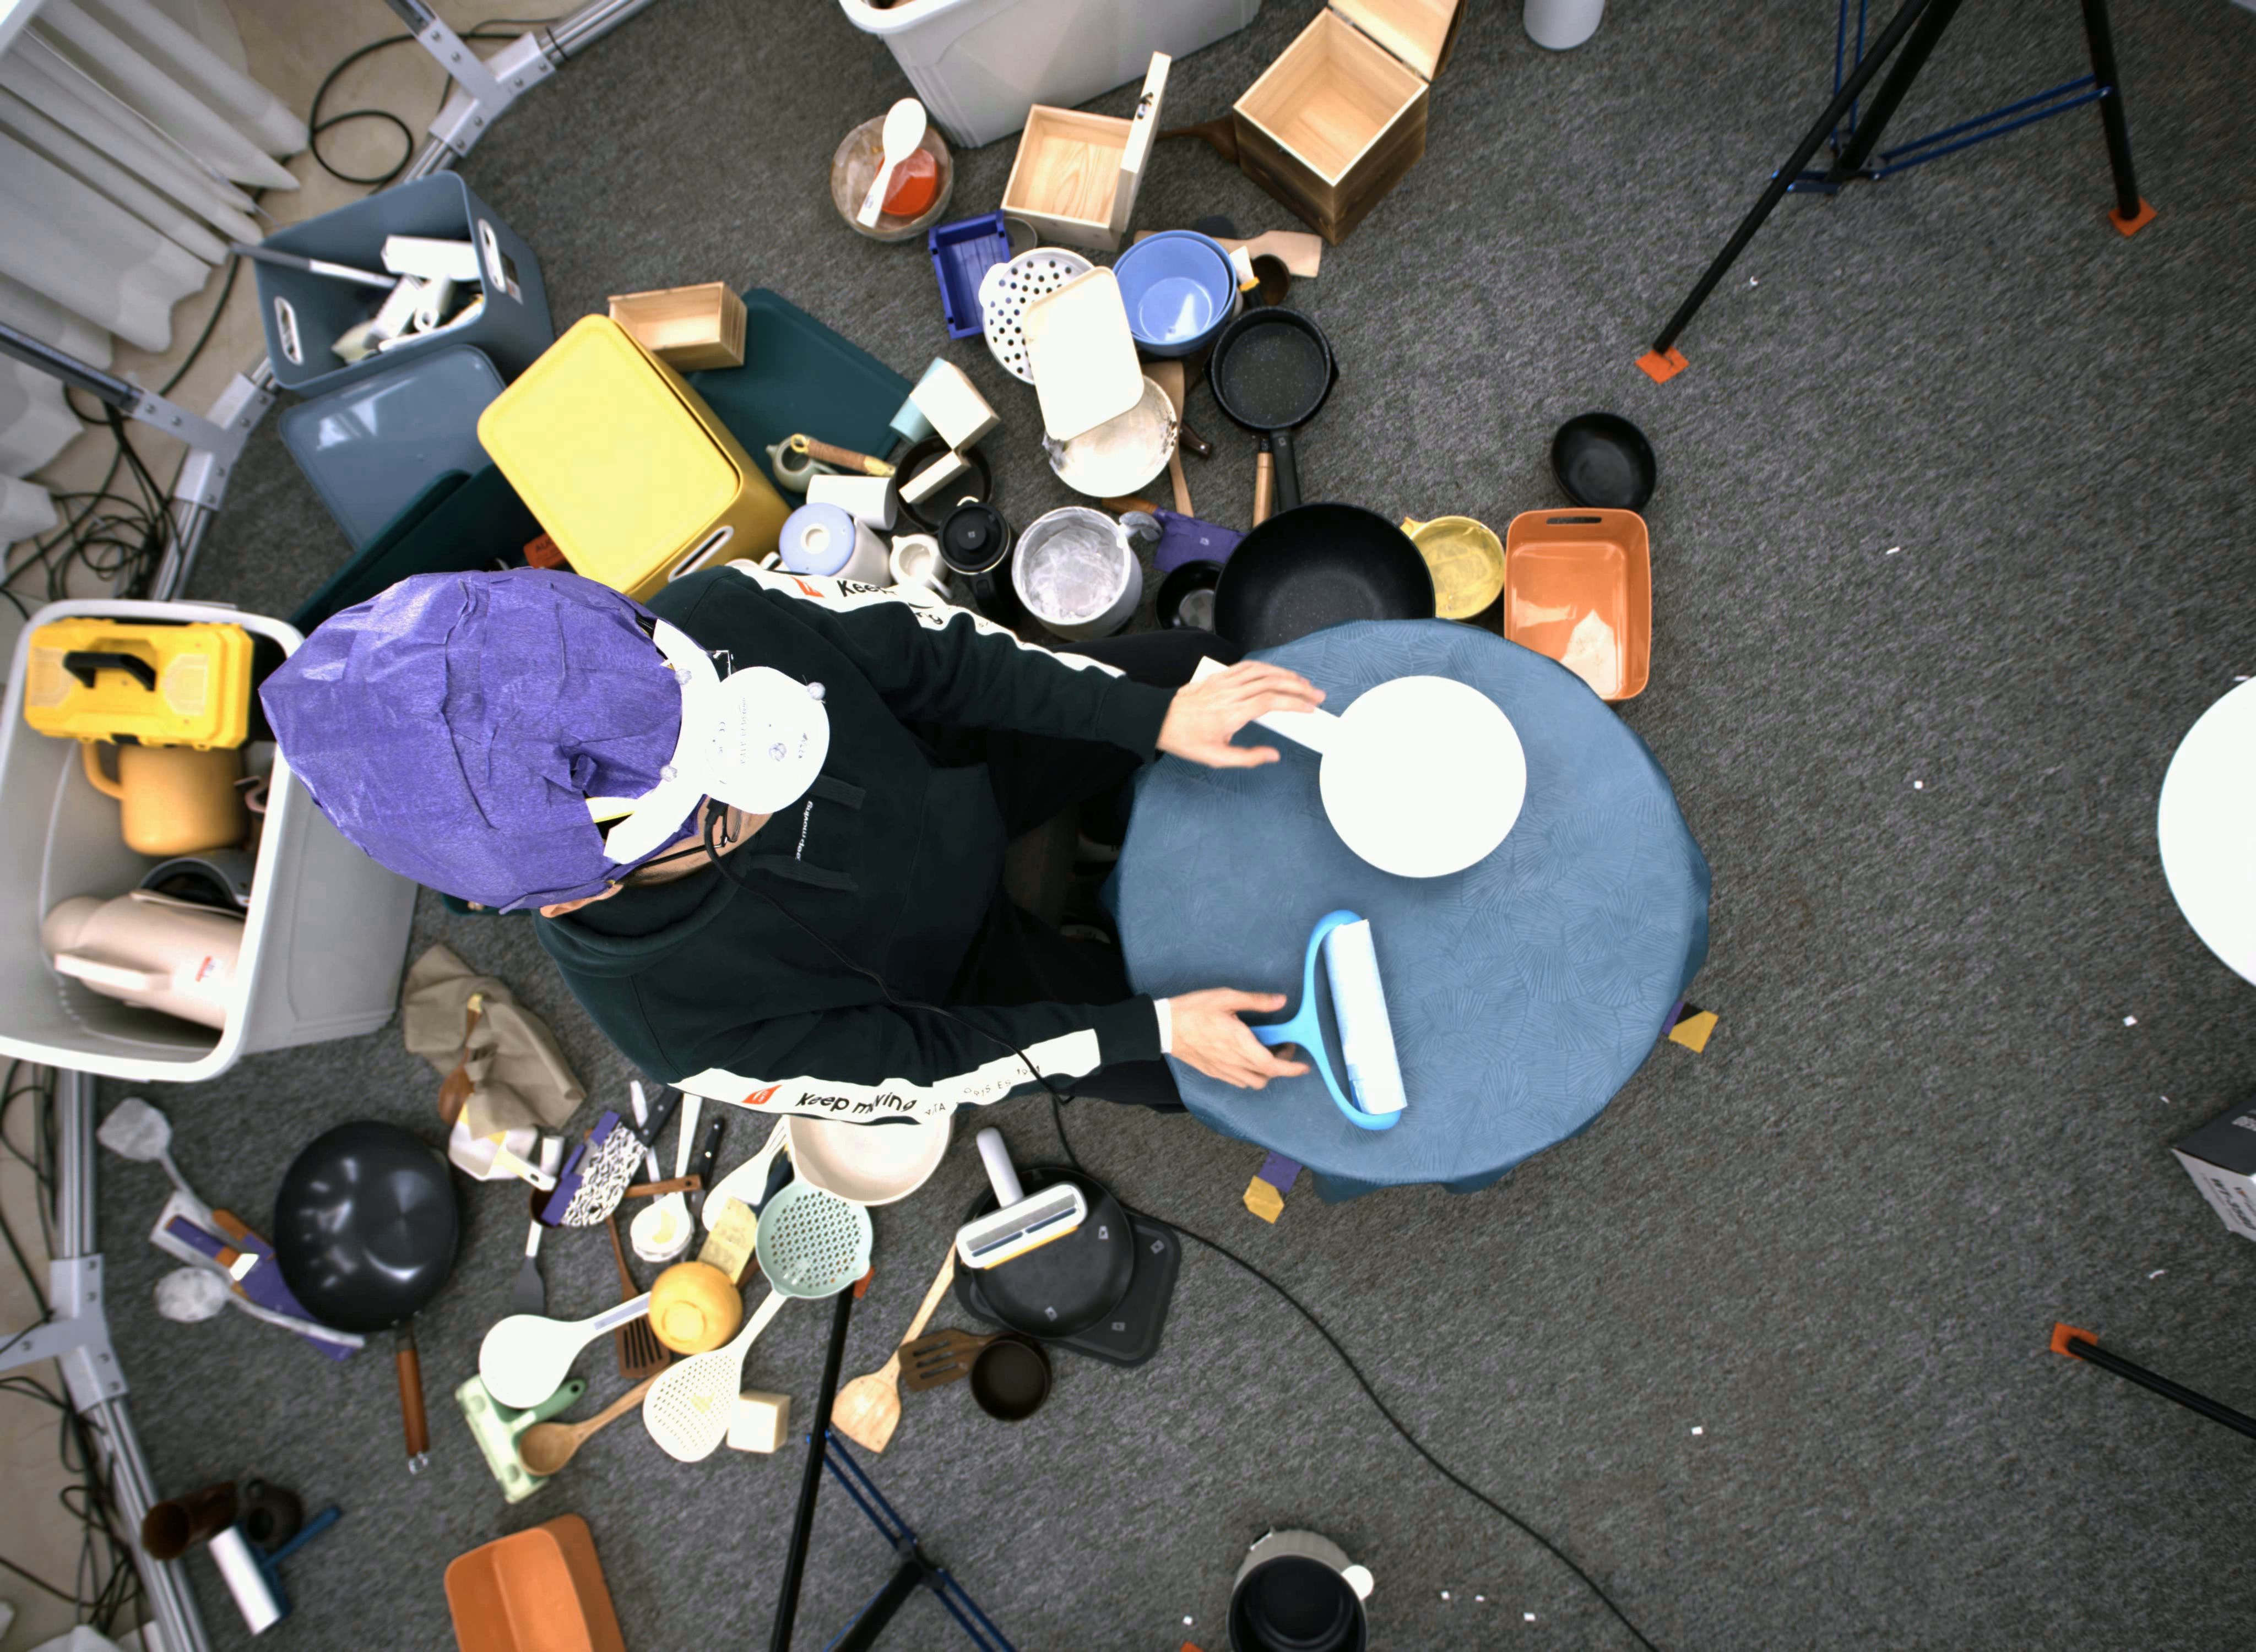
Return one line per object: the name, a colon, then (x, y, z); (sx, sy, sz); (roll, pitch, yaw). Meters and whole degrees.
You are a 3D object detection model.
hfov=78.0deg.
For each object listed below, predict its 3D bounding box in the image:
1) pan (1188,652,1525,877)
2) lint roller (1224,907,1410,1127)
pan: (0.231, -0.081, 1.421); (0.354, 0.102, 0.201); (26, 93, 11)
lint roller: (0.186, 0.210, 1.435); (0.181, 0.068, 0.228); (-15, 86, 8)
